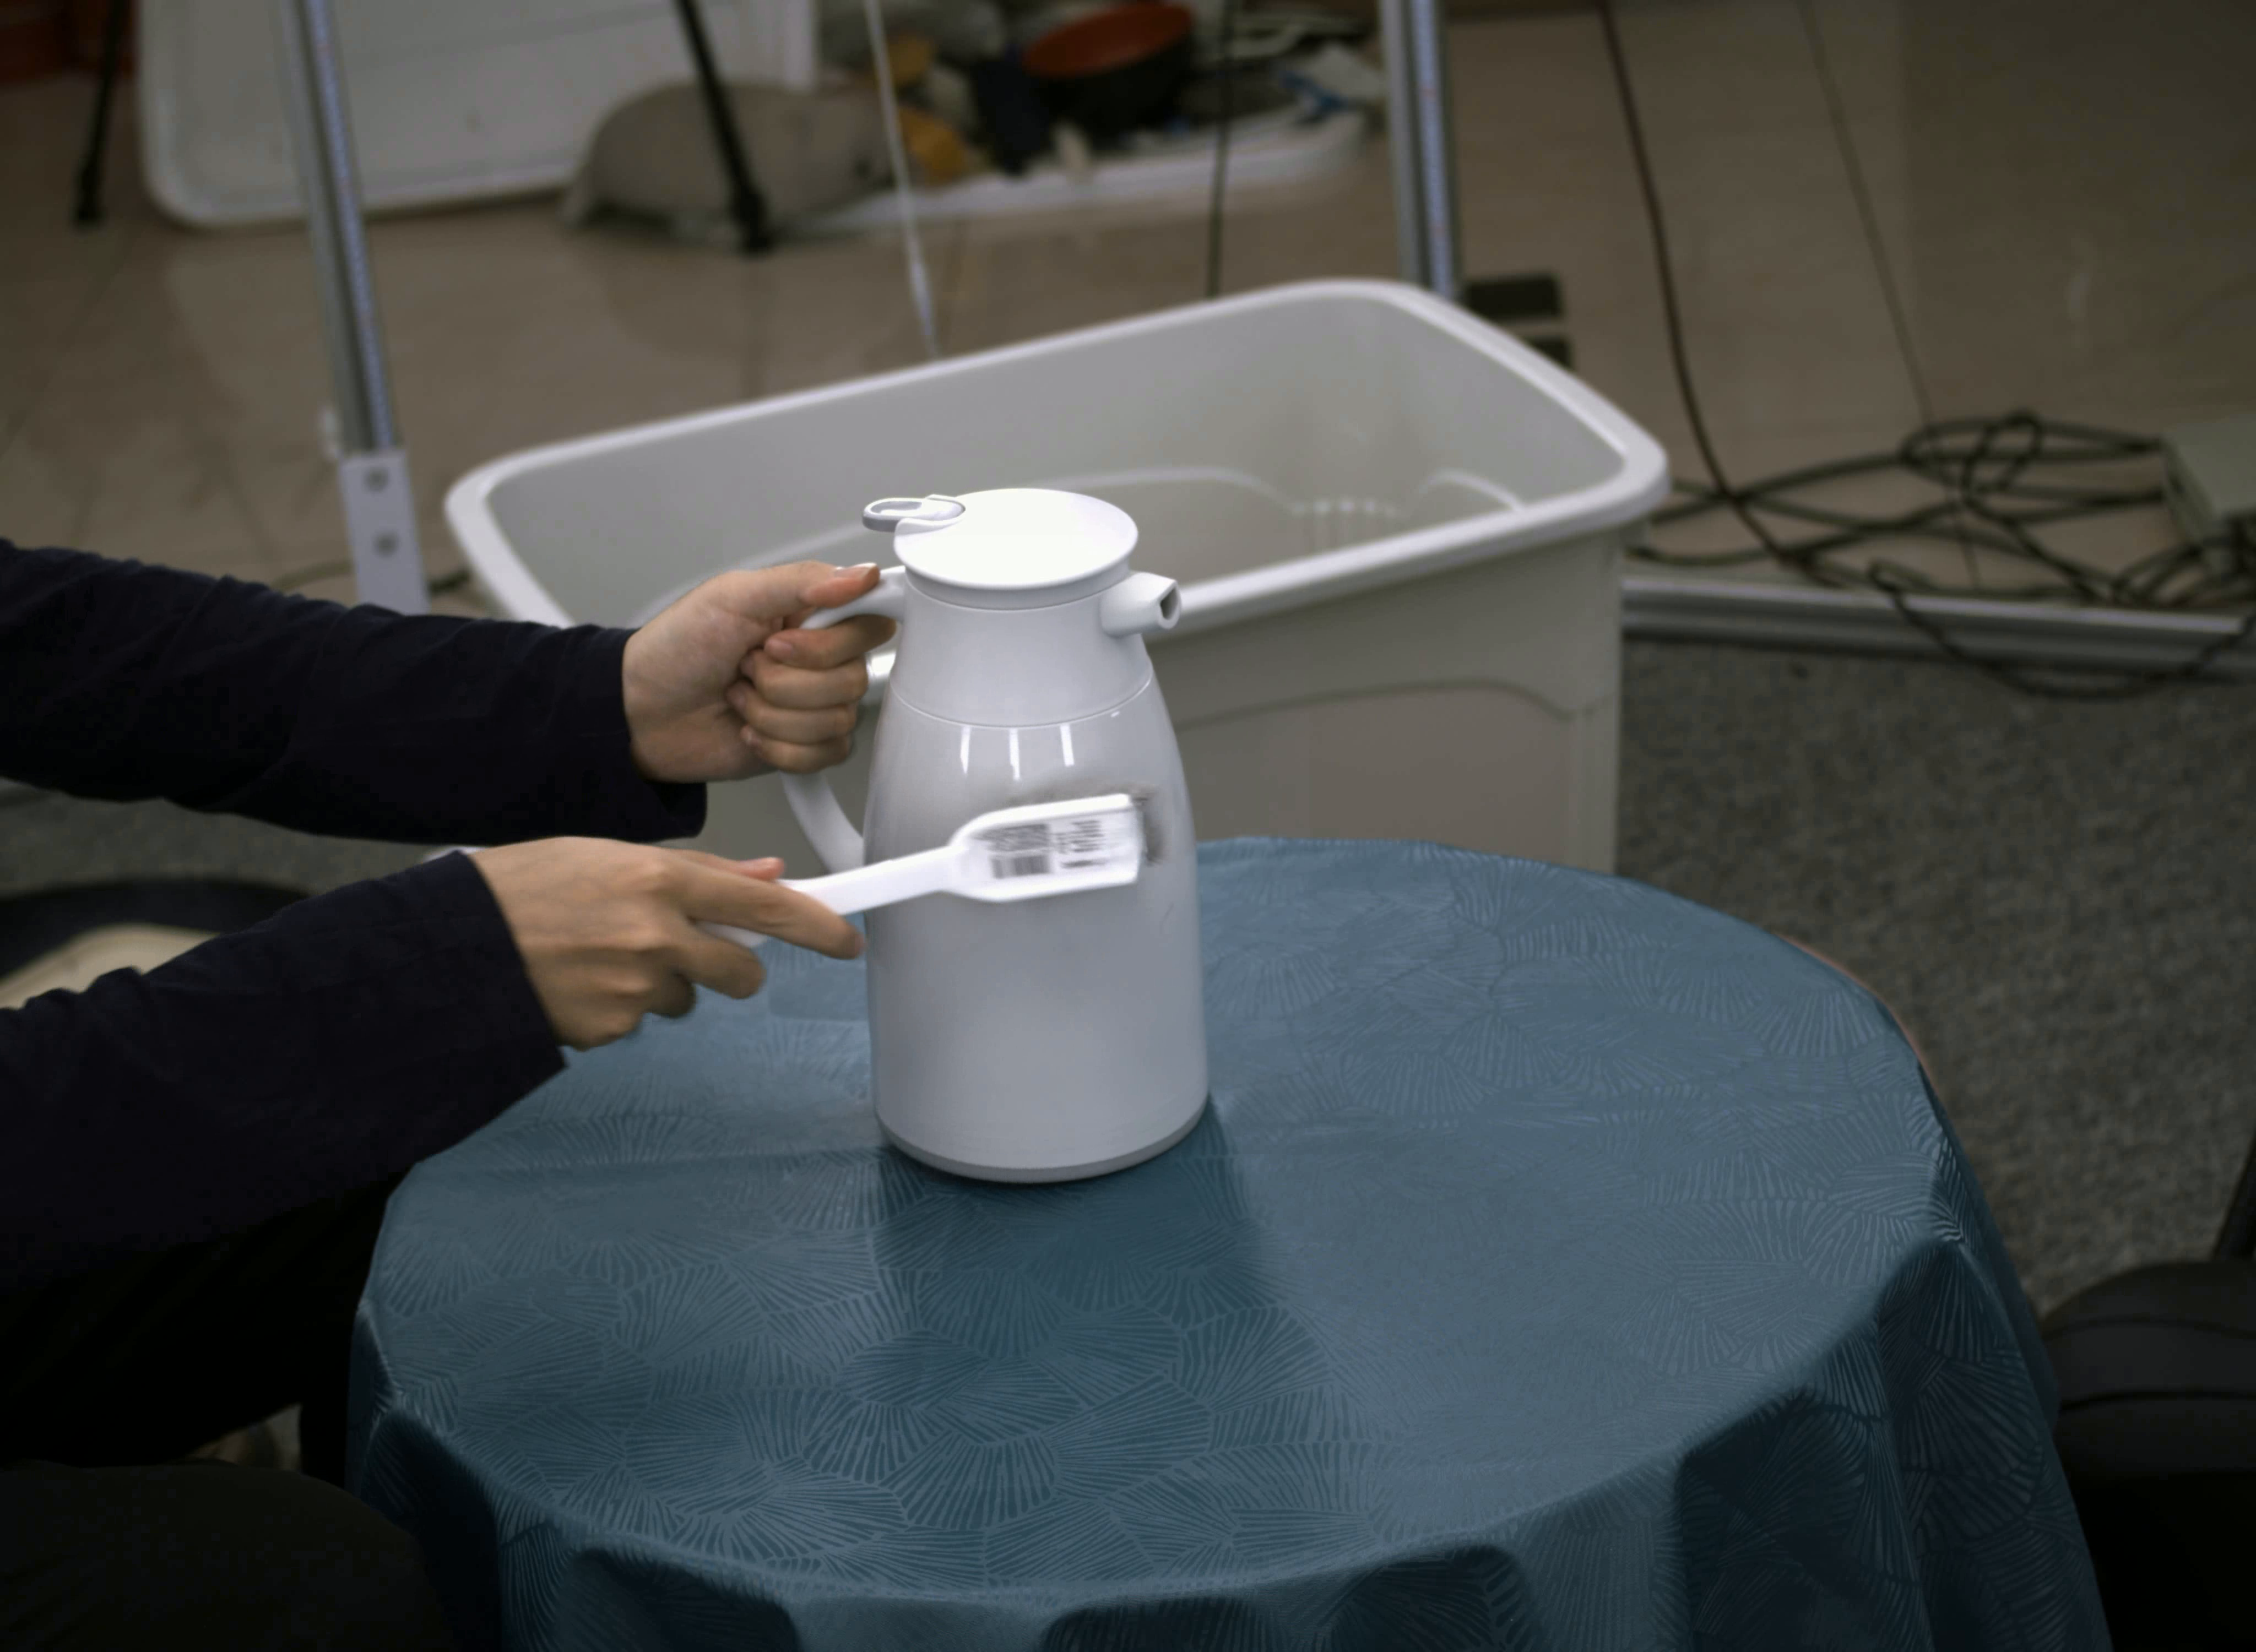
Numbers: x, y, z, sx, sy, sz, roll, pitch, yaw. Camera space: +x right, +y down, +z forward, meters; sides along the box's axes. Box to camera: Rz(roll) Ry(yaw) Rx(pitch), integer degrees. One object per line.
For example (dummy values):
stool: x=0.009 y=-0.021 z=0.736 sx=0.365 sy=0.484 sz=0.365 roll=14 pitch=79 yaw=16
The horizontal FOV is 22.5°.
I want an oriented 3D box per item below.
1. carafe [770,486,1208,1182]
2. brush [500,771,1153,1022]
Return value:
carafe: x=-0.056 y=-0.006 z=2.159 sx=0.167 sy=0.253 sz=0.131 roll=8 pitch=29 yaw=19
brush: x=-0.110 y=0.026 z=2.070 sx=0.243 sy=0.035 sz=0.050 roll=-15 pitch=15 yaw=2
